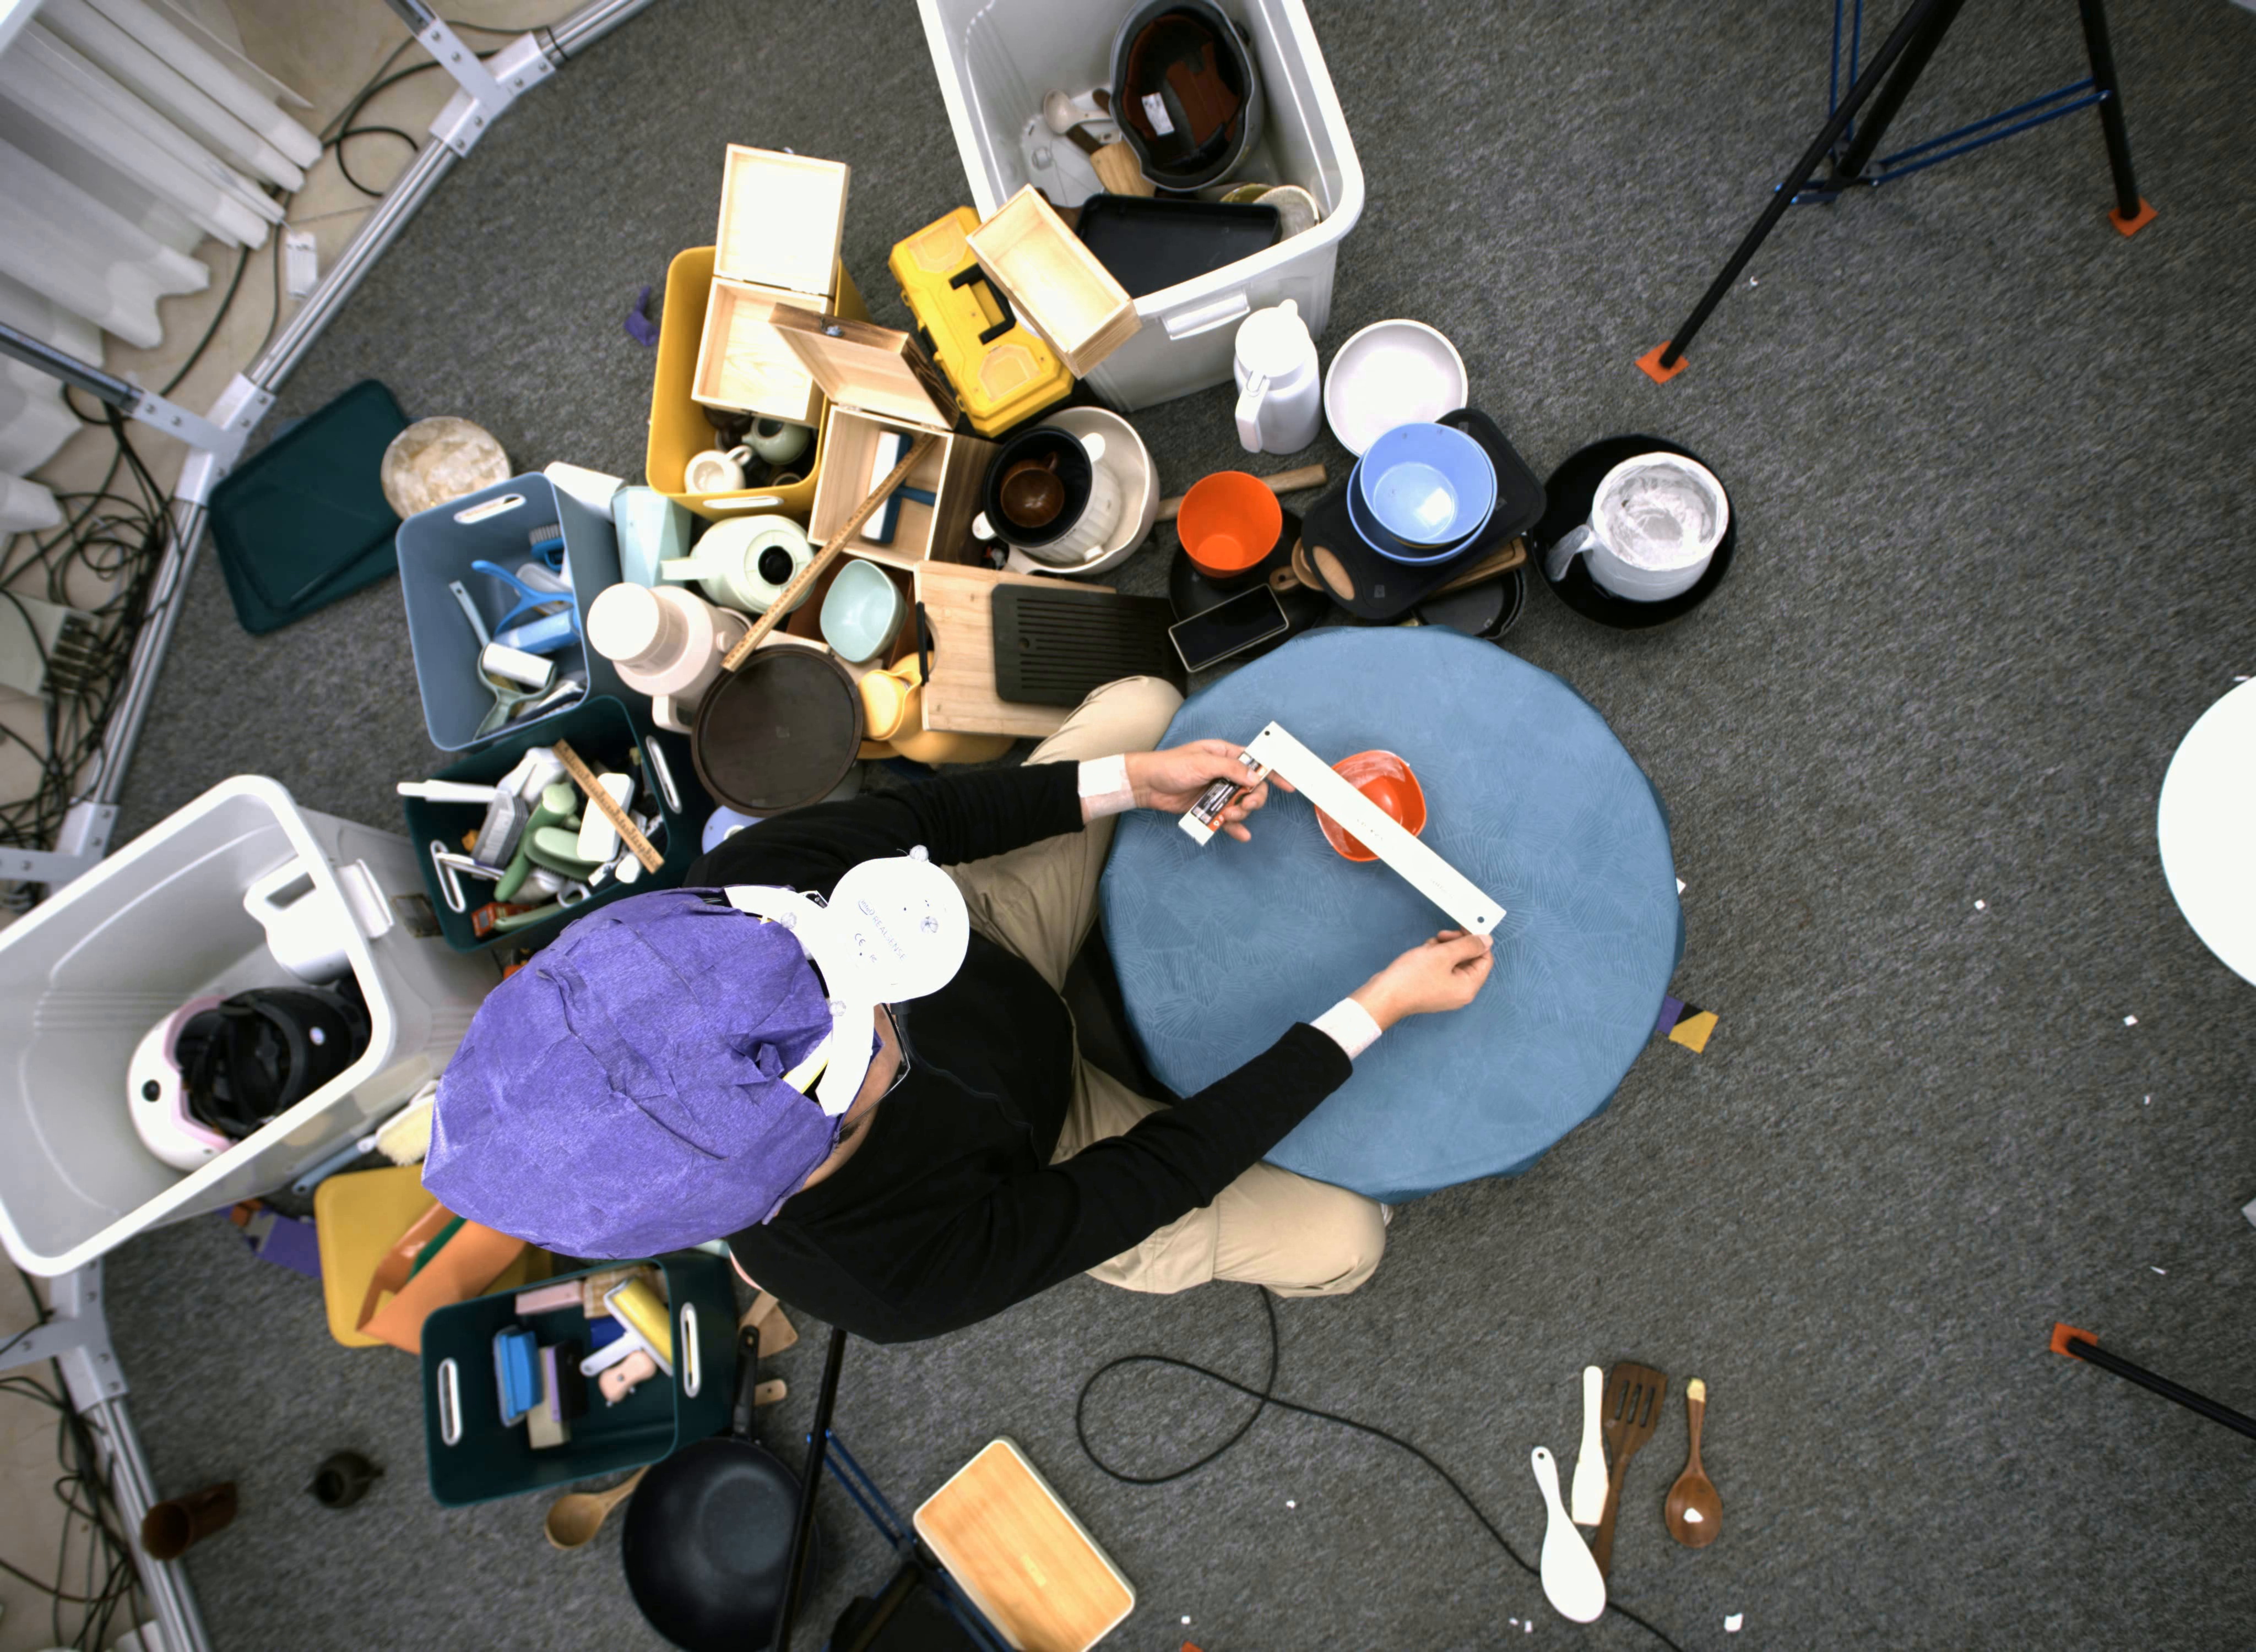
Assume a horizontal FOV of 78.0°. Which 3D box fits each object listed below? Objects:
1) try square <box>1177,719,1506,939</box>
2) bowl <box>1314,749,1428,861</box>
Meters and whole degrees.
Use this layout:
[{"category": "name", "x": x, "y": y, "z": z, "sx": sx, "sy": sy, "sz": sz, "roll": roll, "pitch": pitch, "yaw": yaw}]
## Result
[{"category": "try square", "x": 0.215, "y": 0.039, "z": 1.406, "sx": 0.312, "sy": 0.016, "sz": 0.151, "roll": 40, "pitch": 83, "yaw": 10}, {"category": "bowl", "x": 0.253, "y": -0.020, "z": 1.440, "sx": 0.119, "sy": 0.051, "sz": 0.118, "roll": -1, "pitch": 87, "yaw": 7}]
